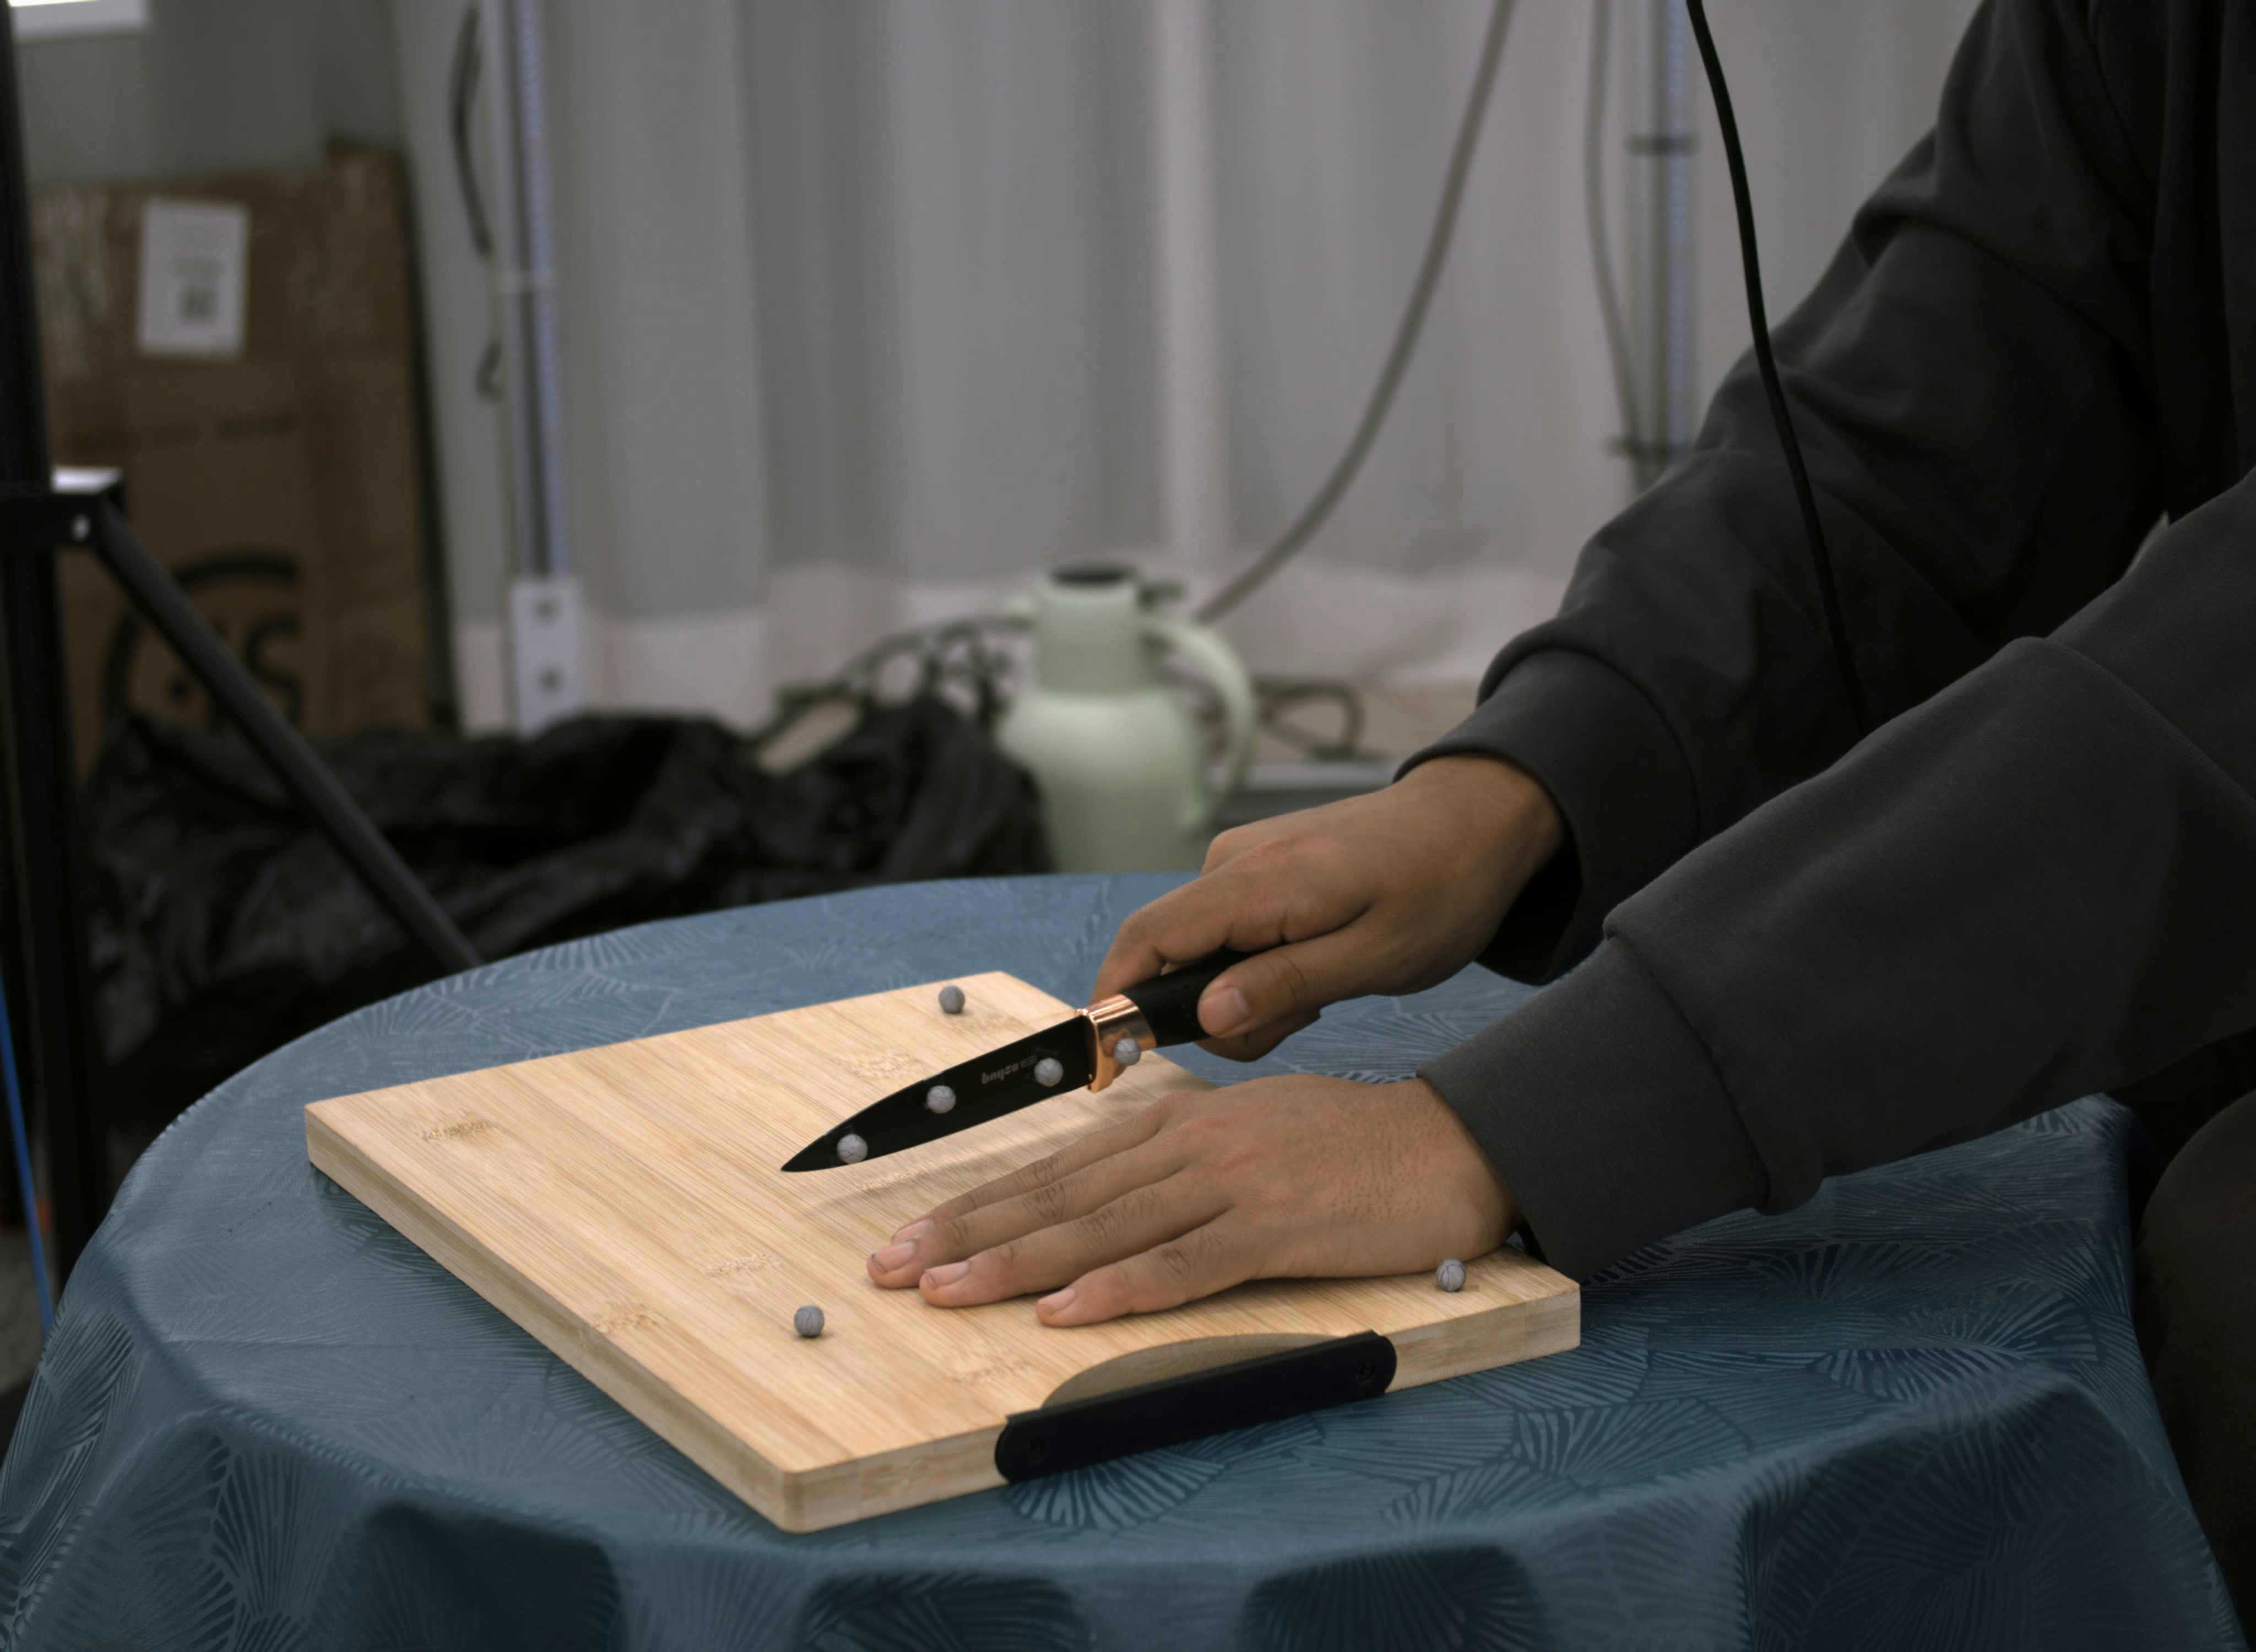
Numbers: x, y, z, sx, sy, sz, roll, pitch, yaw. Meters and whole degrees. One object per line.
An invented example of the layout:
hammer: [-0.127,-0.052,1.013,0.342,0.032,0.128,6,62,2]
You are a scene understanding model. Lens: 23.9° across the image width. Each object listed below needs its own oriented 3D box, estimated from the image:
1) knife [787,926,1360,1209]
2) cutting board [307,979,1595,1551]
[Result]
knife: [-0.013,0.070,1.564,0.221,0.026,0.017,-21,21,-36]
cutting board: [-0.061,0.115,1.513,0.245,0.023,0.356,-11,18,-27]
